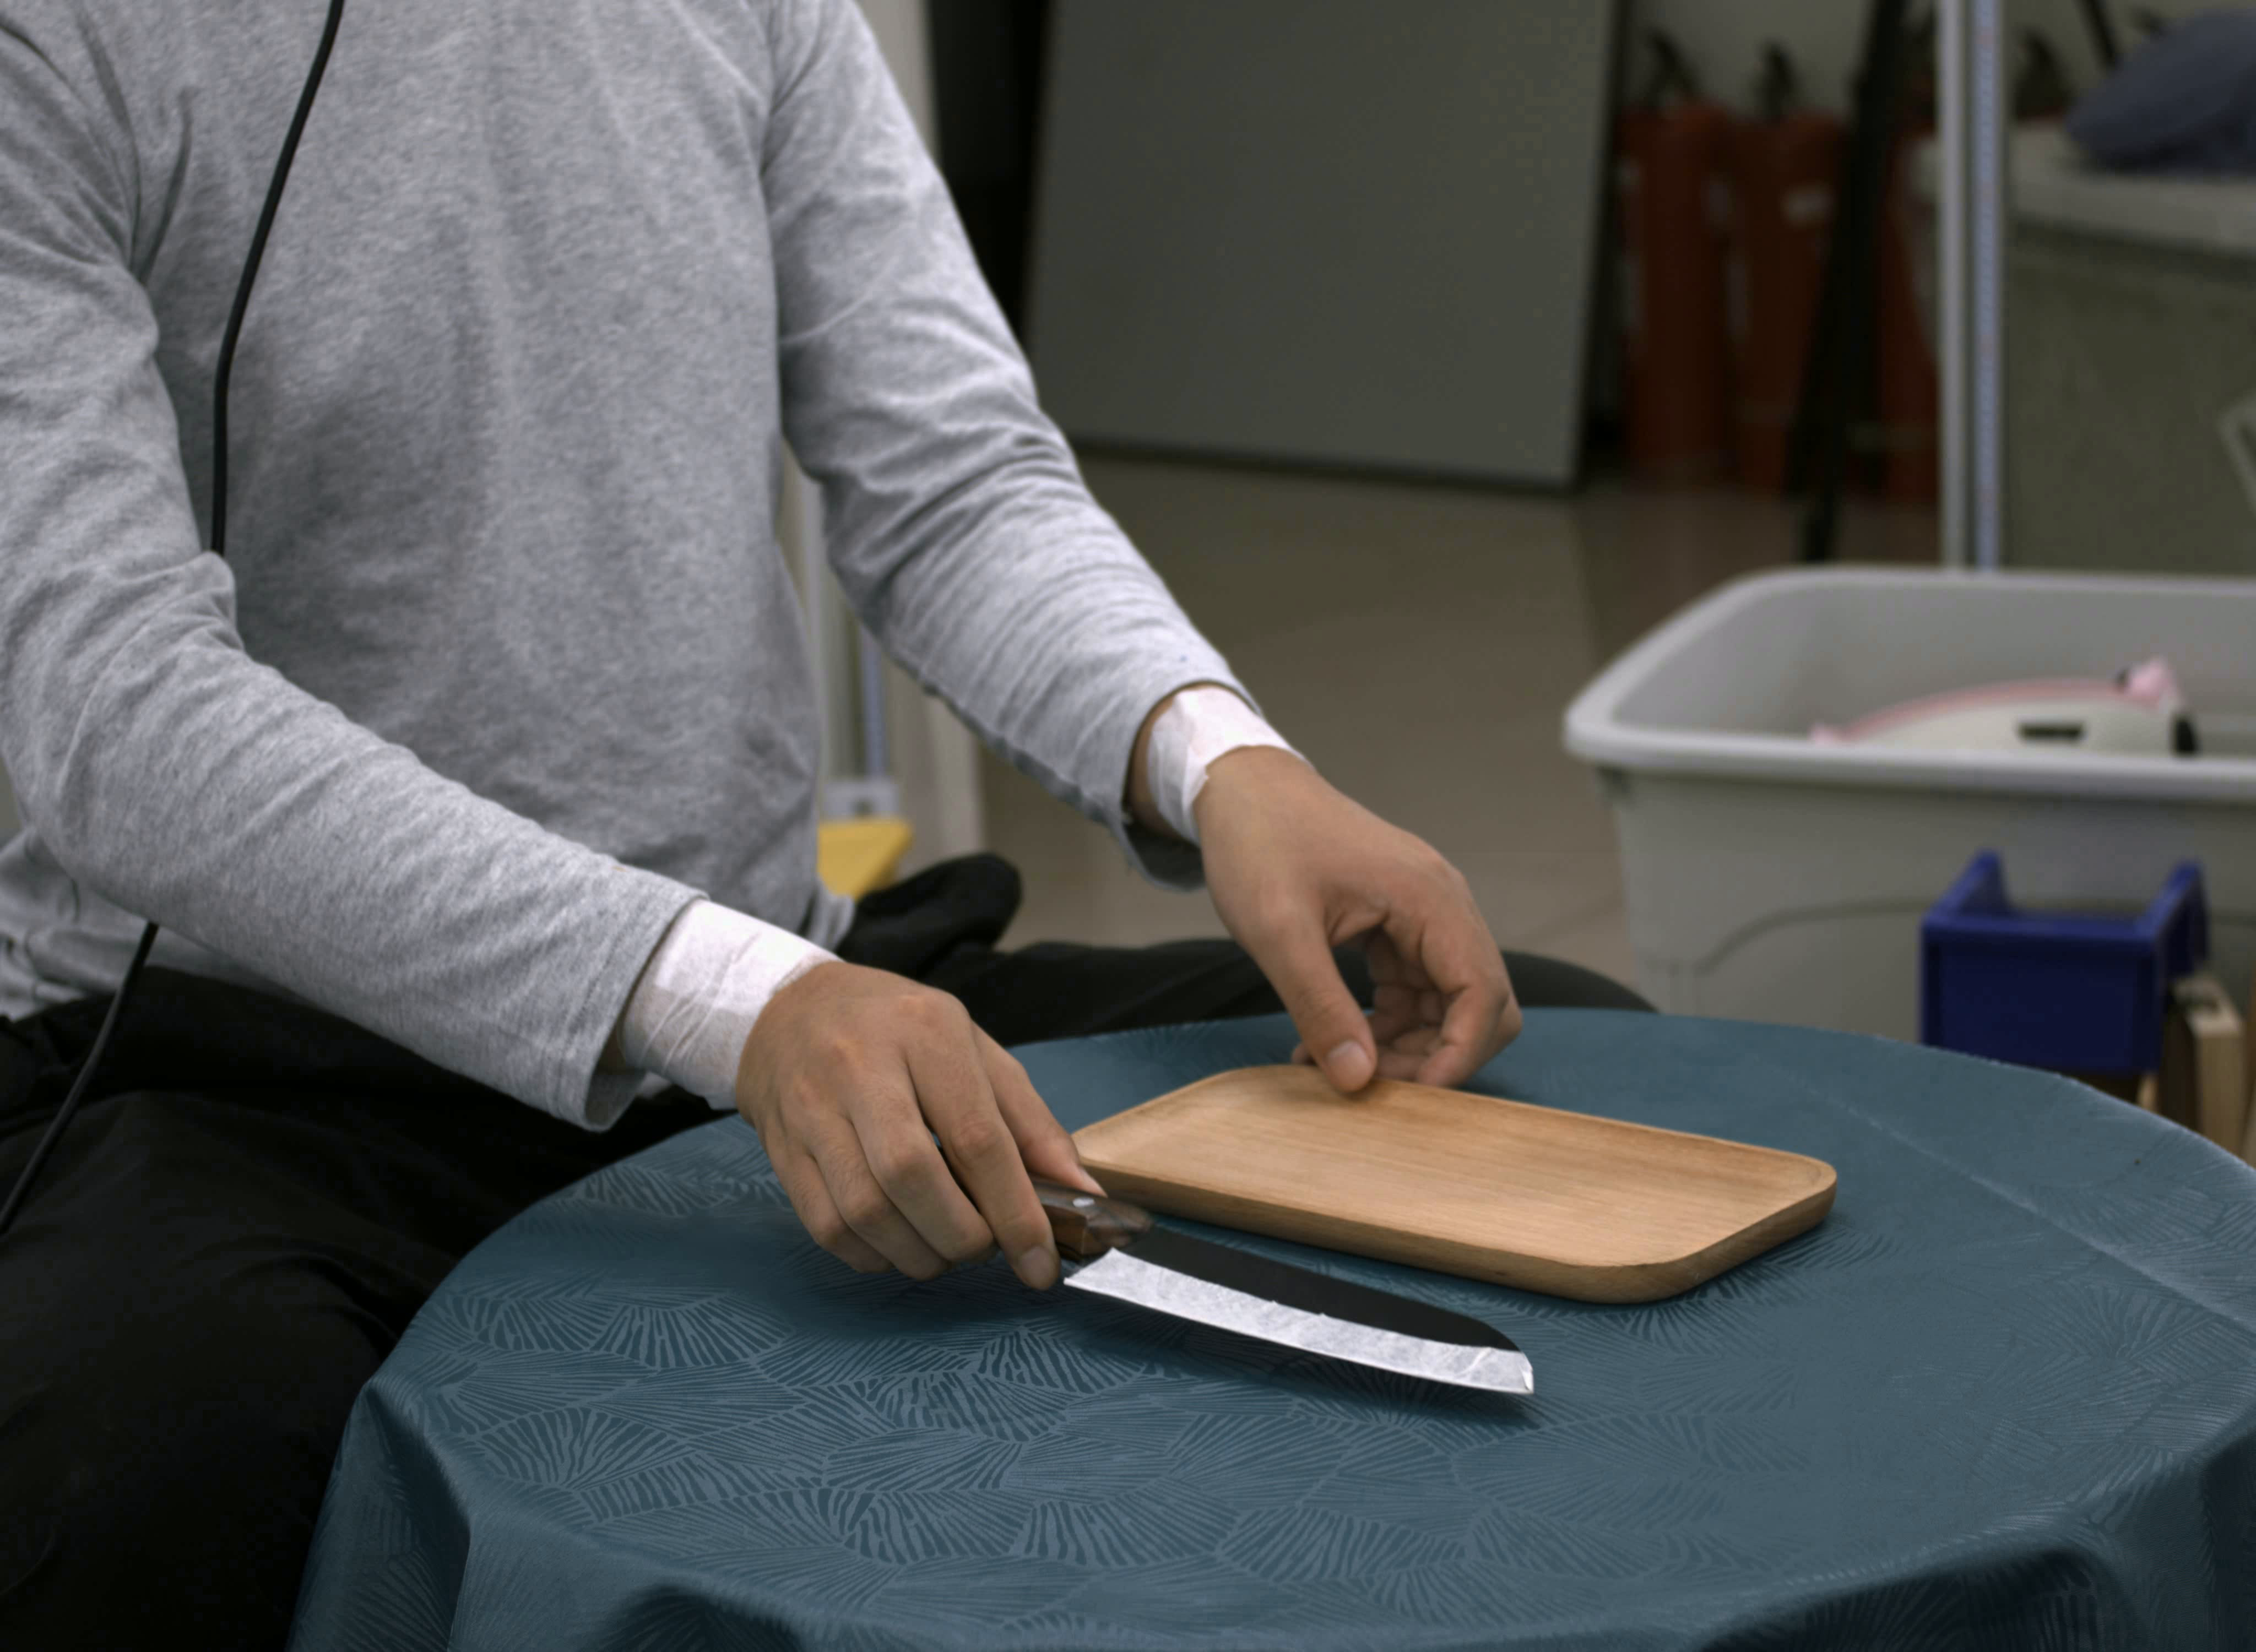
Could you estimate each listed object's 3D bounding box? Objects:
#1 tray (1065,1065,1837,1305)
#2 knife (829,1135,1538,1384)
[{"bbox_3d":[0.102,0.114,1.740,0.253,0.023,0.128,7,15,43],"label":"tray"},{"bbox_3d":[0.012,0.133,1.633,0.292,0.020,0.049,13,31,42],"label":"knife"}]
